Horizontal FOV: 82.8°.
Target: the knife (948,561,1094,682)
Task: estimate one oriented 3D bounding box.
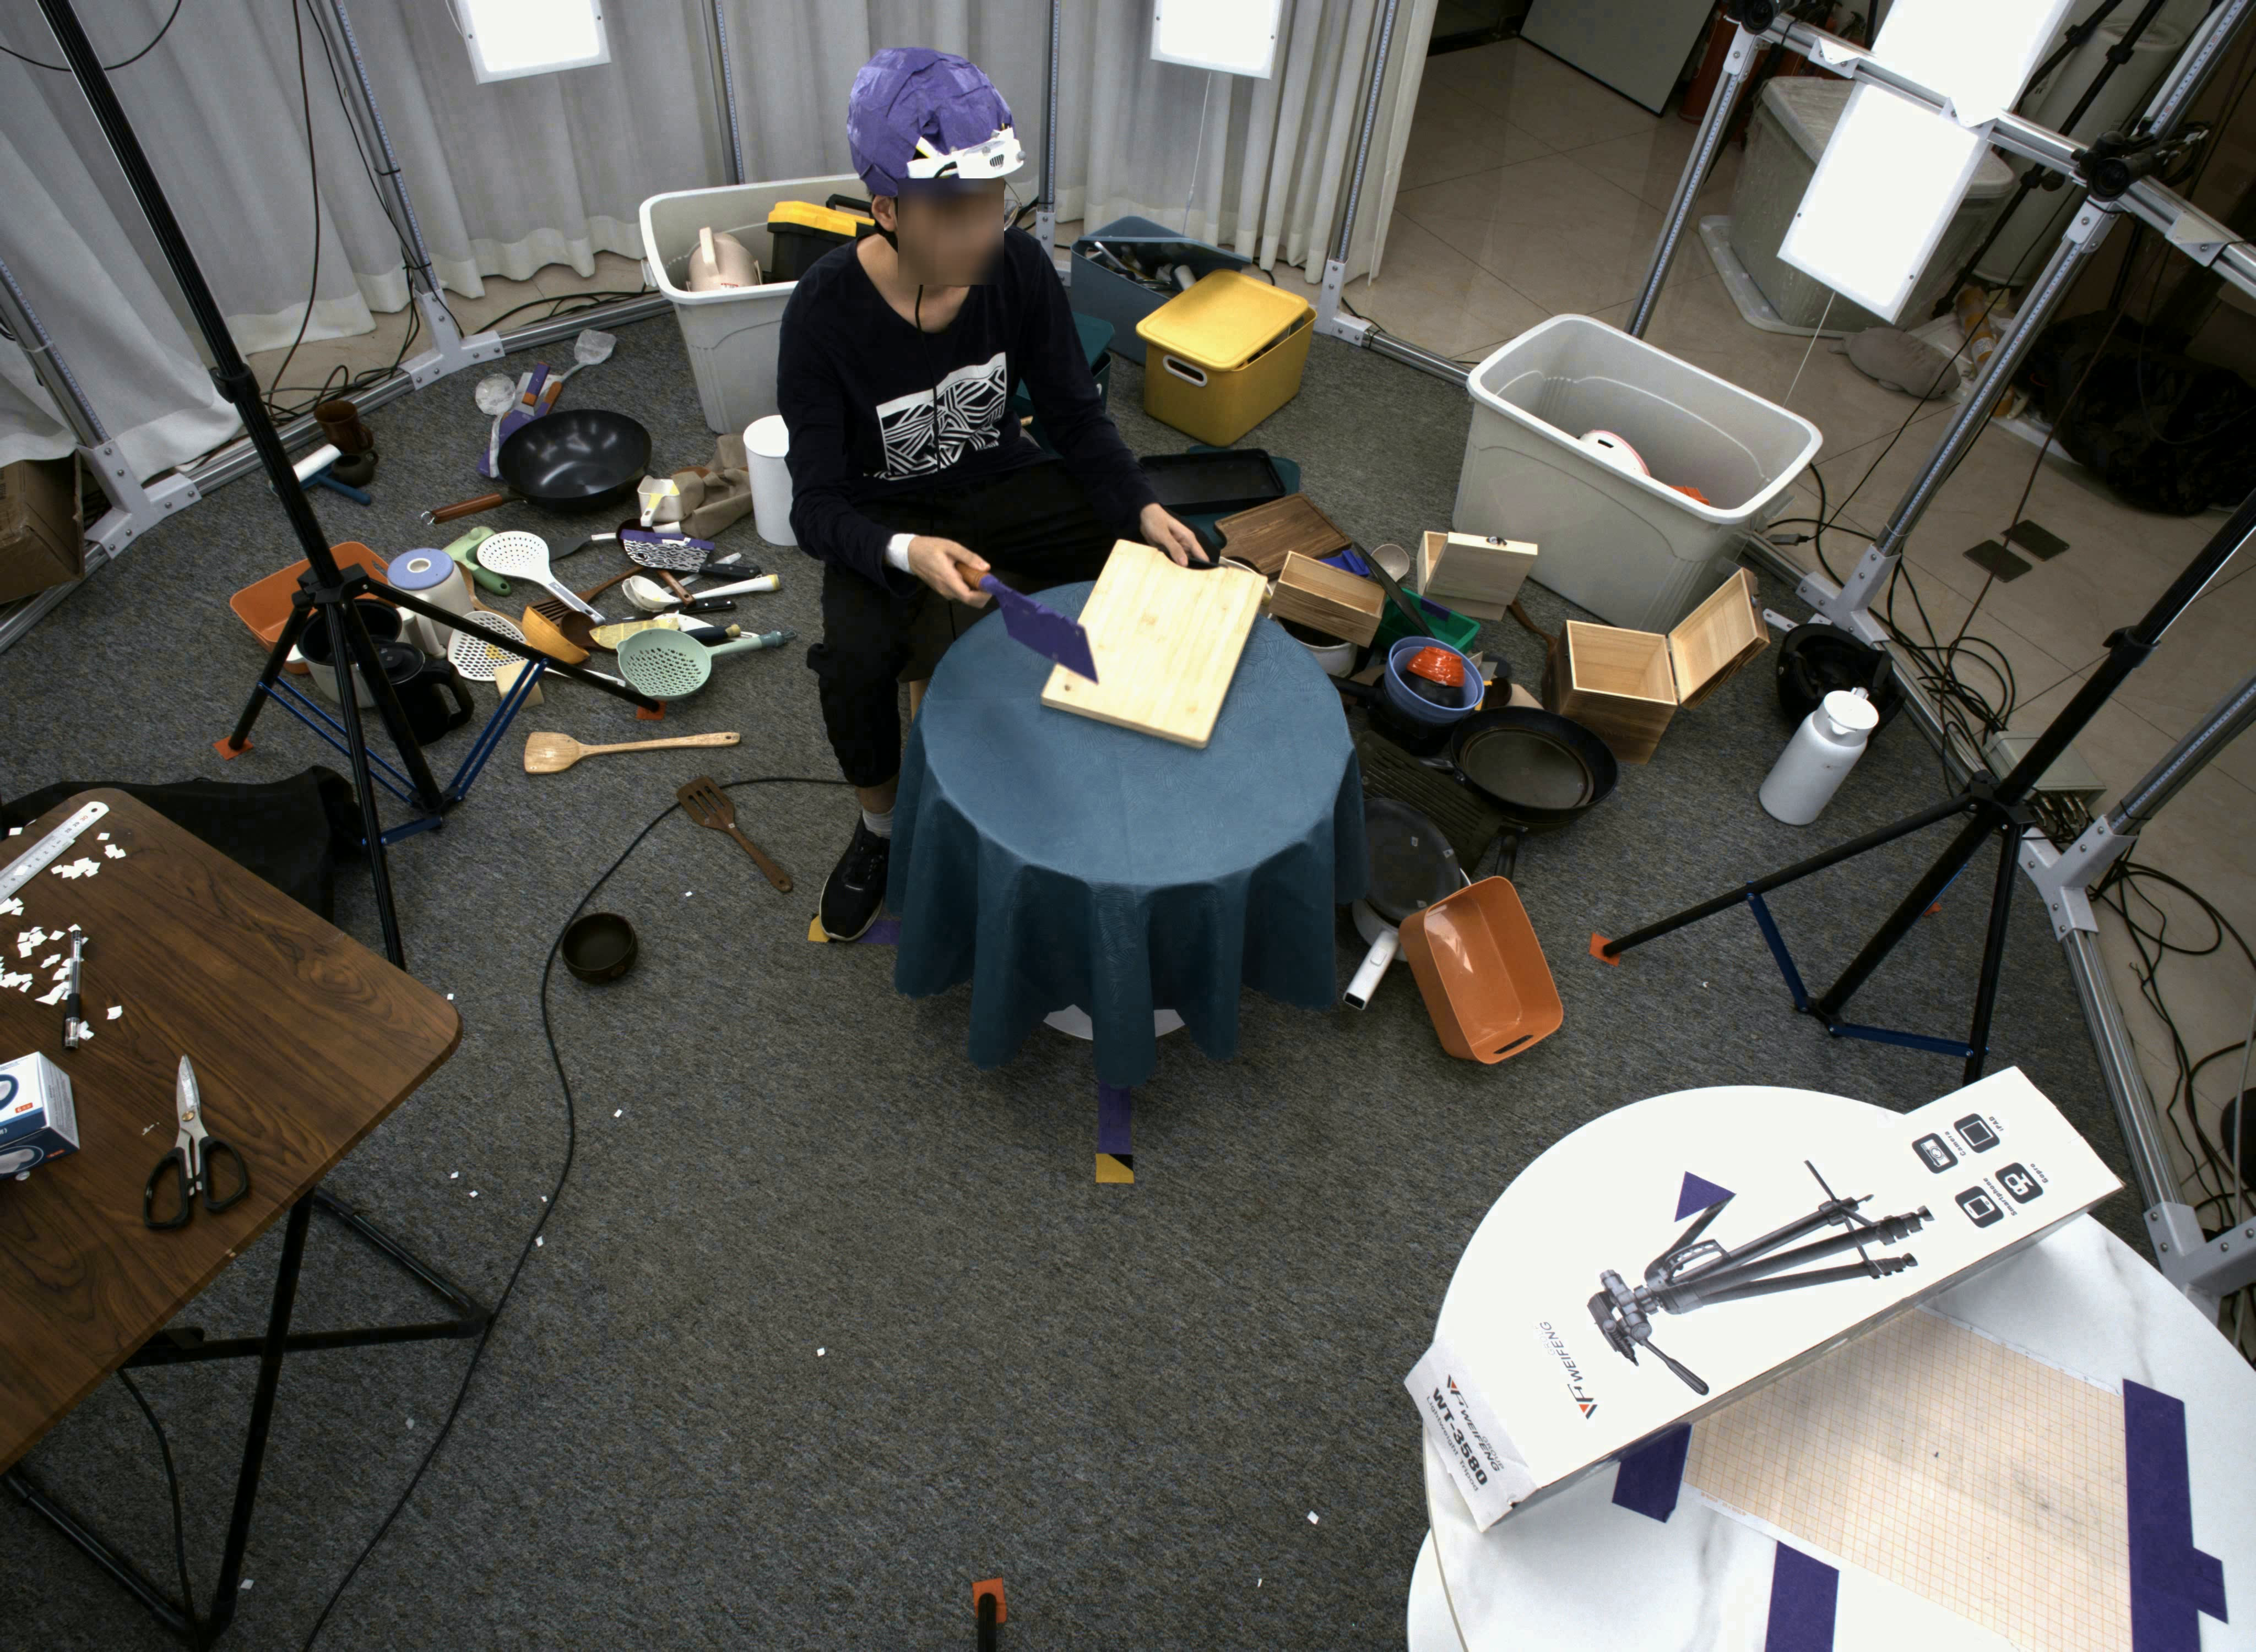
[{"bbox_3d":[-0.146,-0.271,1.715,0.032,0.101,0.321,-30,40,-20],"label":"knife"}]

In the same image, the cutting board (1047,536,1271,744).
[{"bbox_3d":[0.051,-0.282,1.886,0.251,0.023,0.356,14,54,9],"label":"cutting board"}]
